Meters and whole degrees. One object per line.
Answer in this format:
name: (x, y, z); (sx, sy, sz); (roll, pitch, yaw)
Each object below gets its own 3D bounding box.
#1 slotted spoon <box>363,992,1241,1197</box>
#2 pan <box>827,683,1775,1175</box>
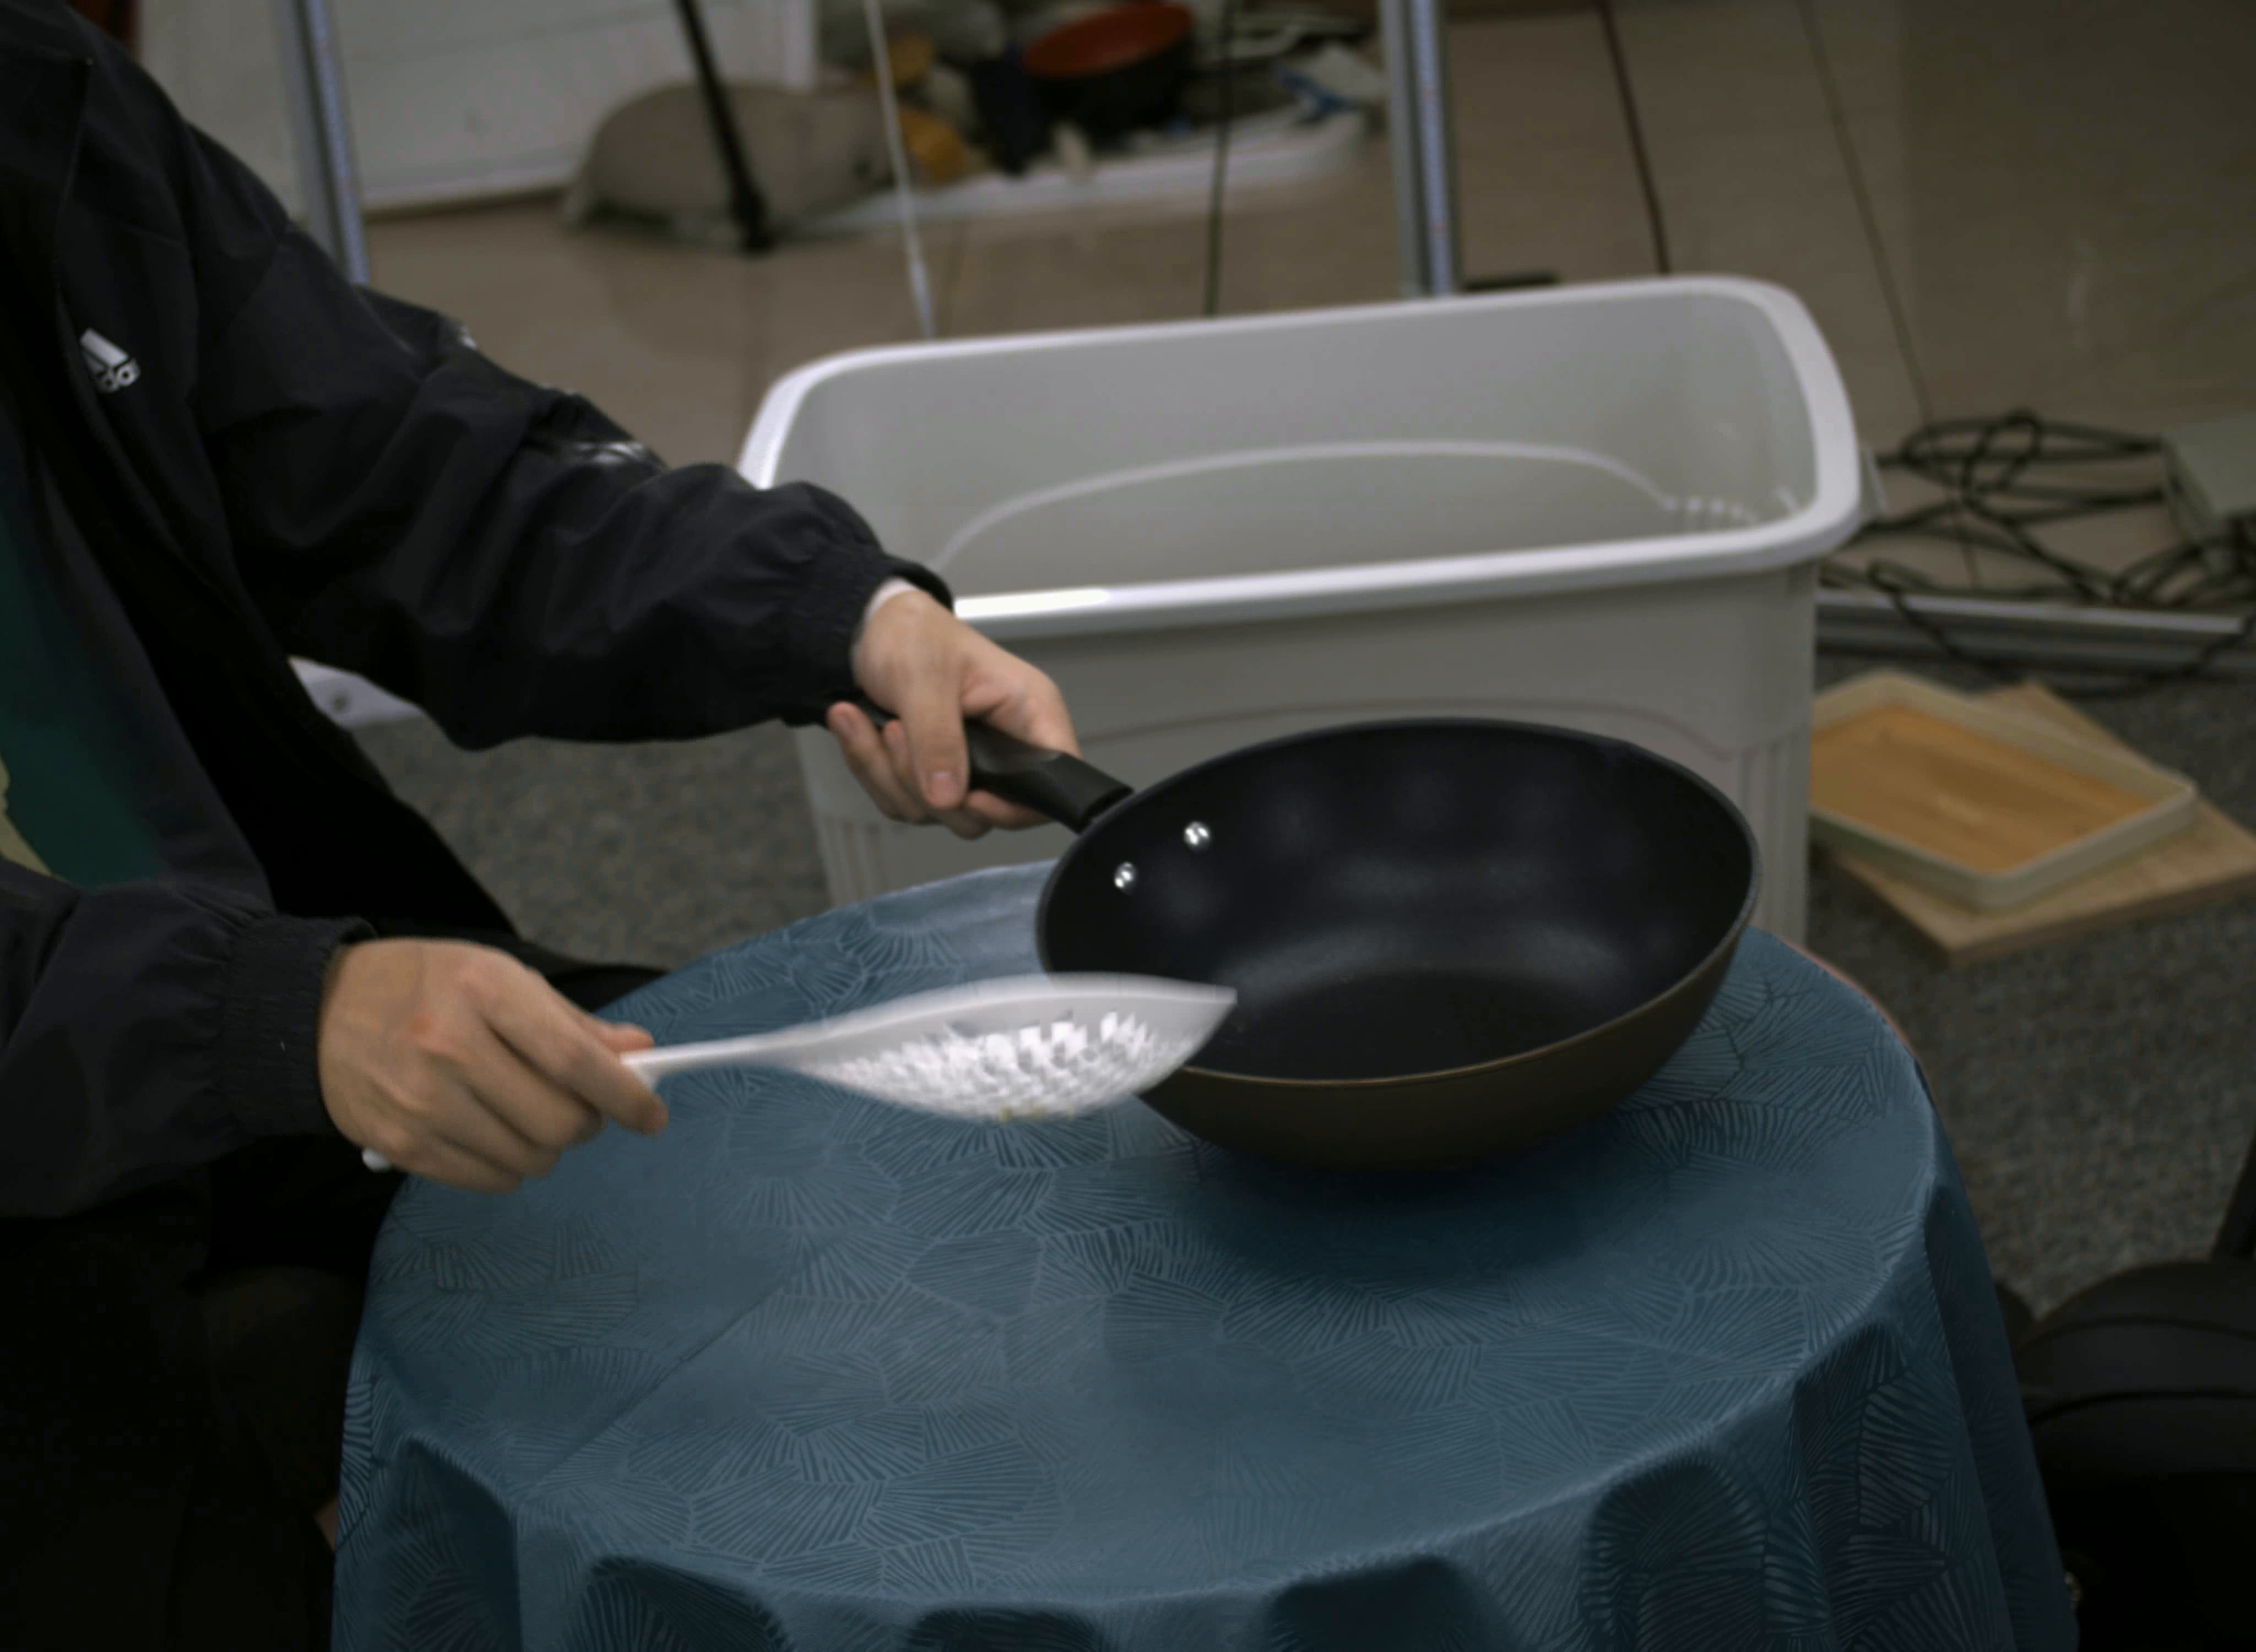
slotted spoon: (-0.123, 0.096, 2.009); (0.348, 0.050, 0.137); (-6, -3, 28)
pan: (0.044, 0.035, 2.239); (0.460, 0.088, 0.285); (19, 37, 40)
